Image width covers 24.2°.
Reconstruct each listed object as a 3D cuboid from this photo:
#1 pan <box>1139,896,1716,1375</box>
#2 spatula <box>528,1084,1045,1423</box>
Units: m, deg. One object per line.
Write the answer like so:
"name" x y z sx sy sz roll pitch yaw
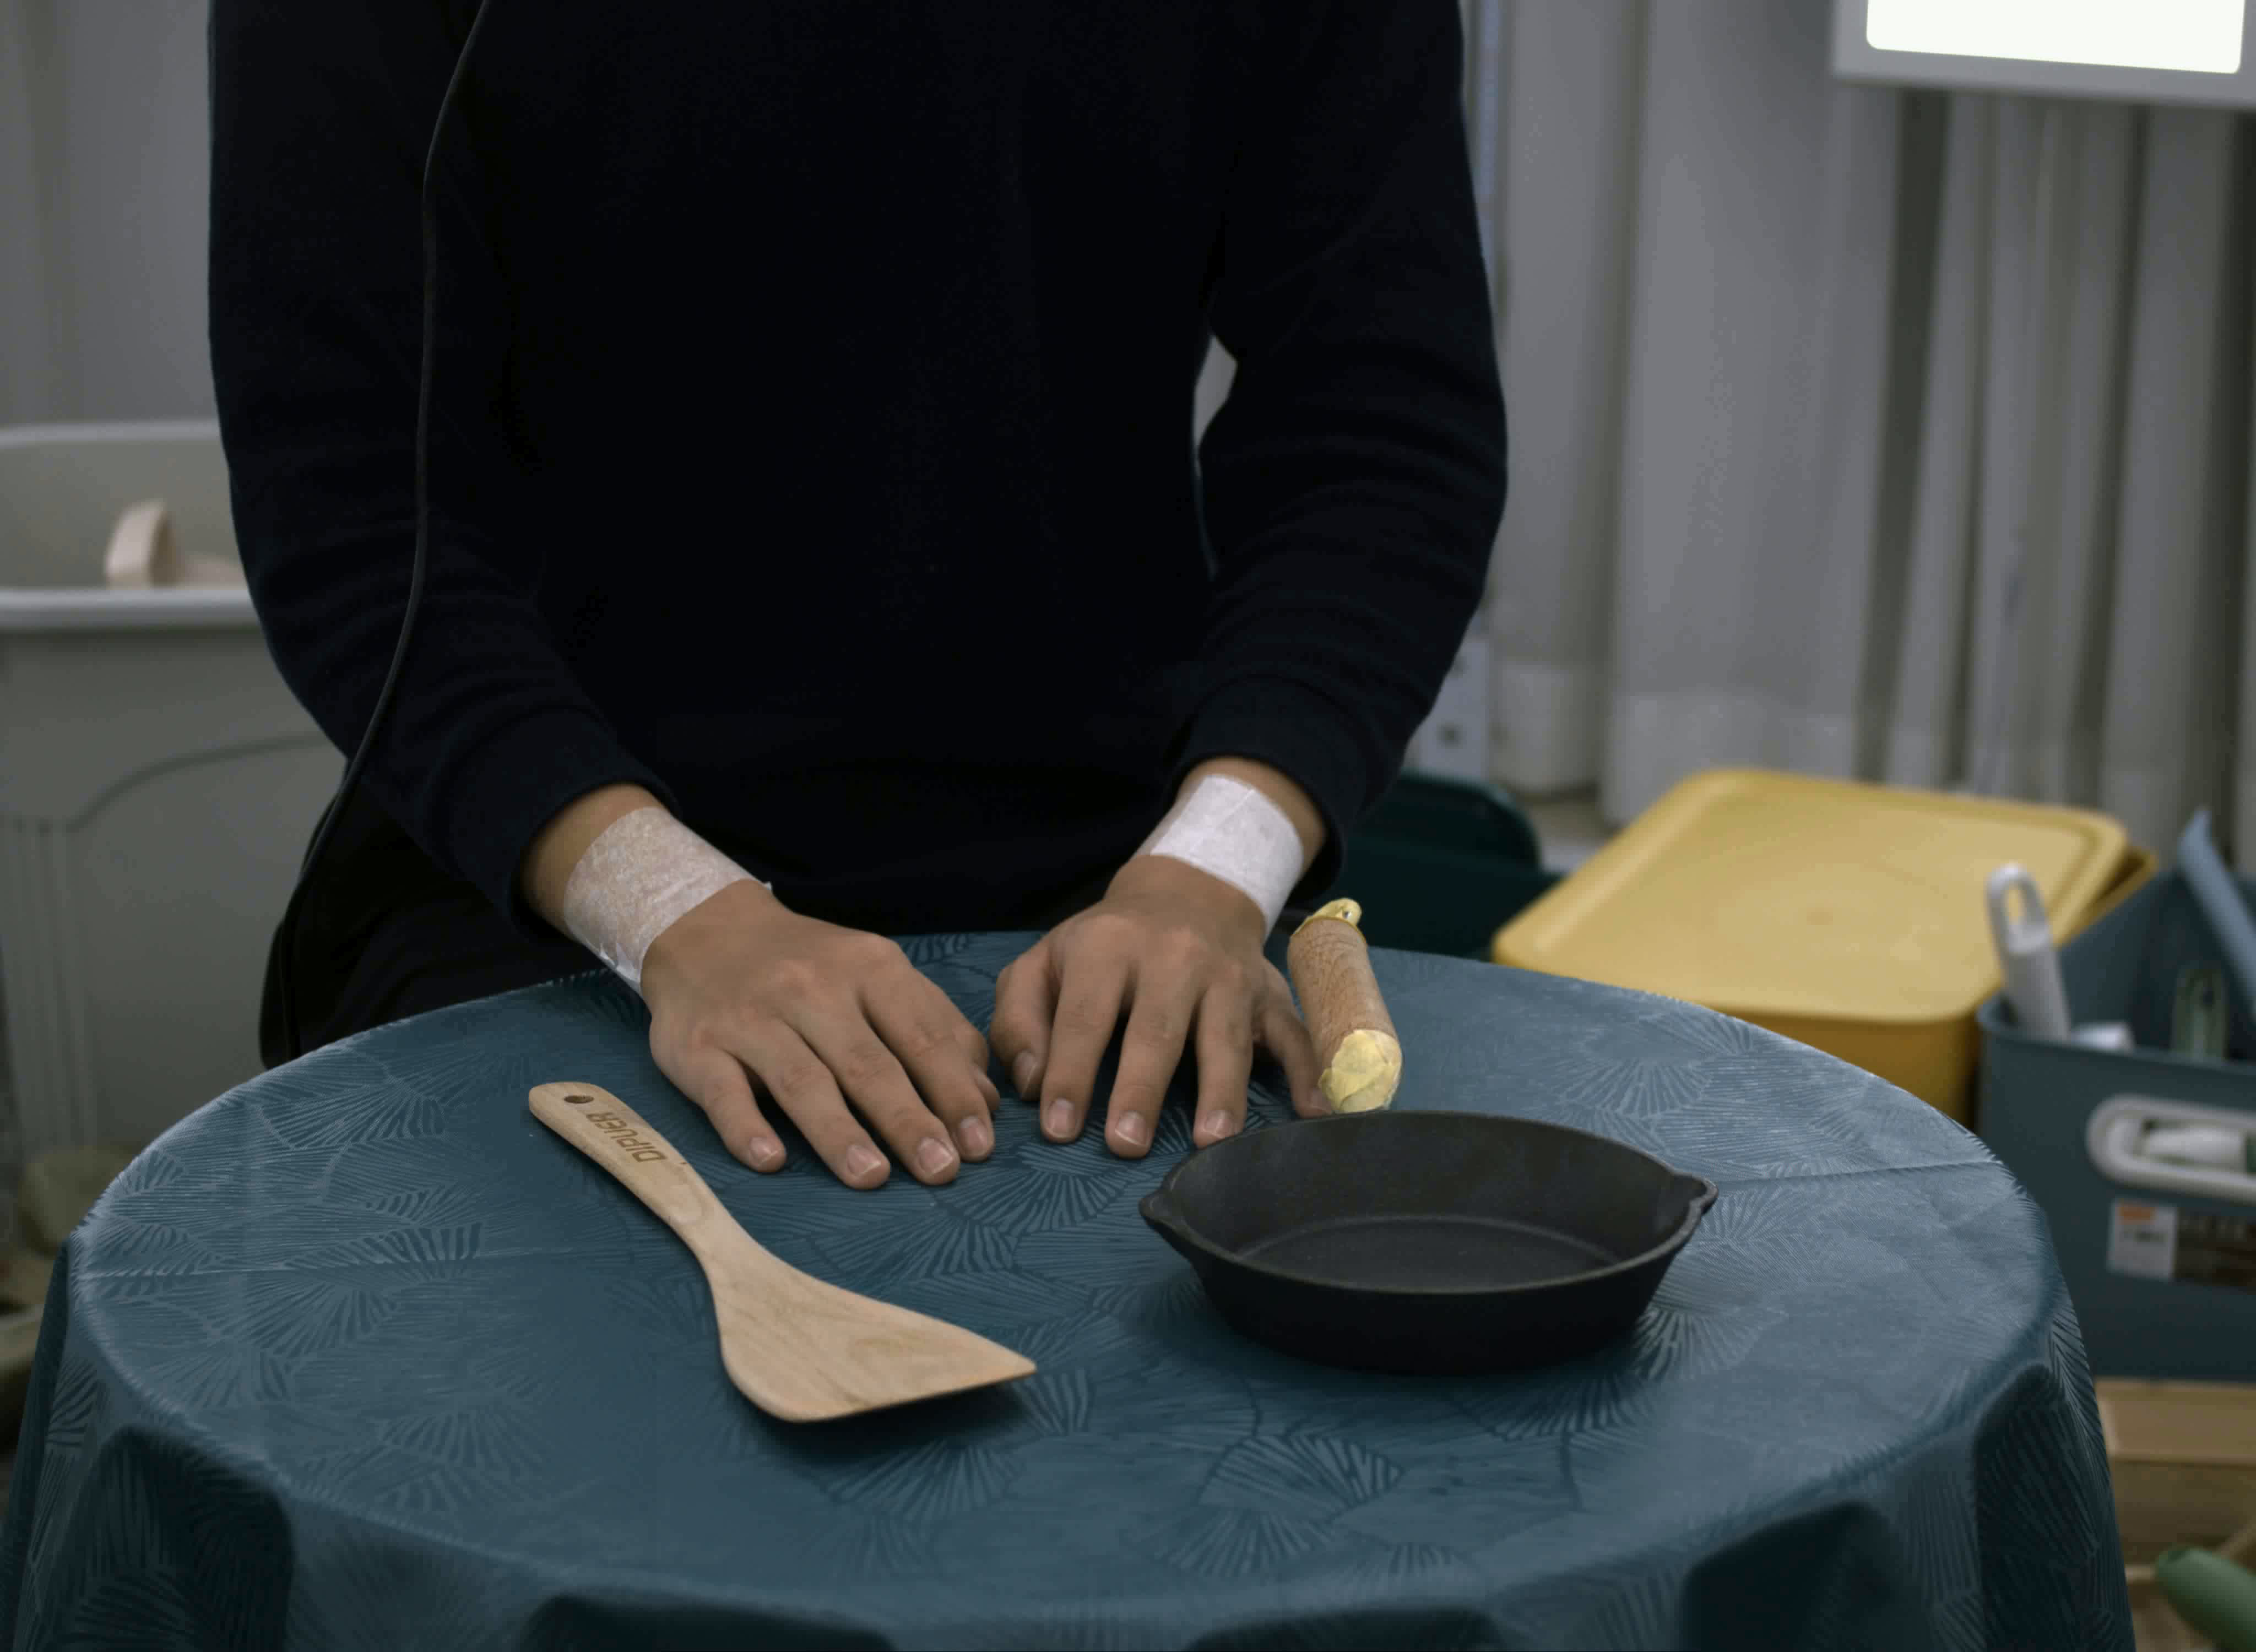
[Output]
"pan" 0.081 0.091 1.607 0.168 0.050 0.322 -1 17 -4
"spatula" -0.117 0.121 1.557 0.080 0.016 0.323 -6 17 -24
